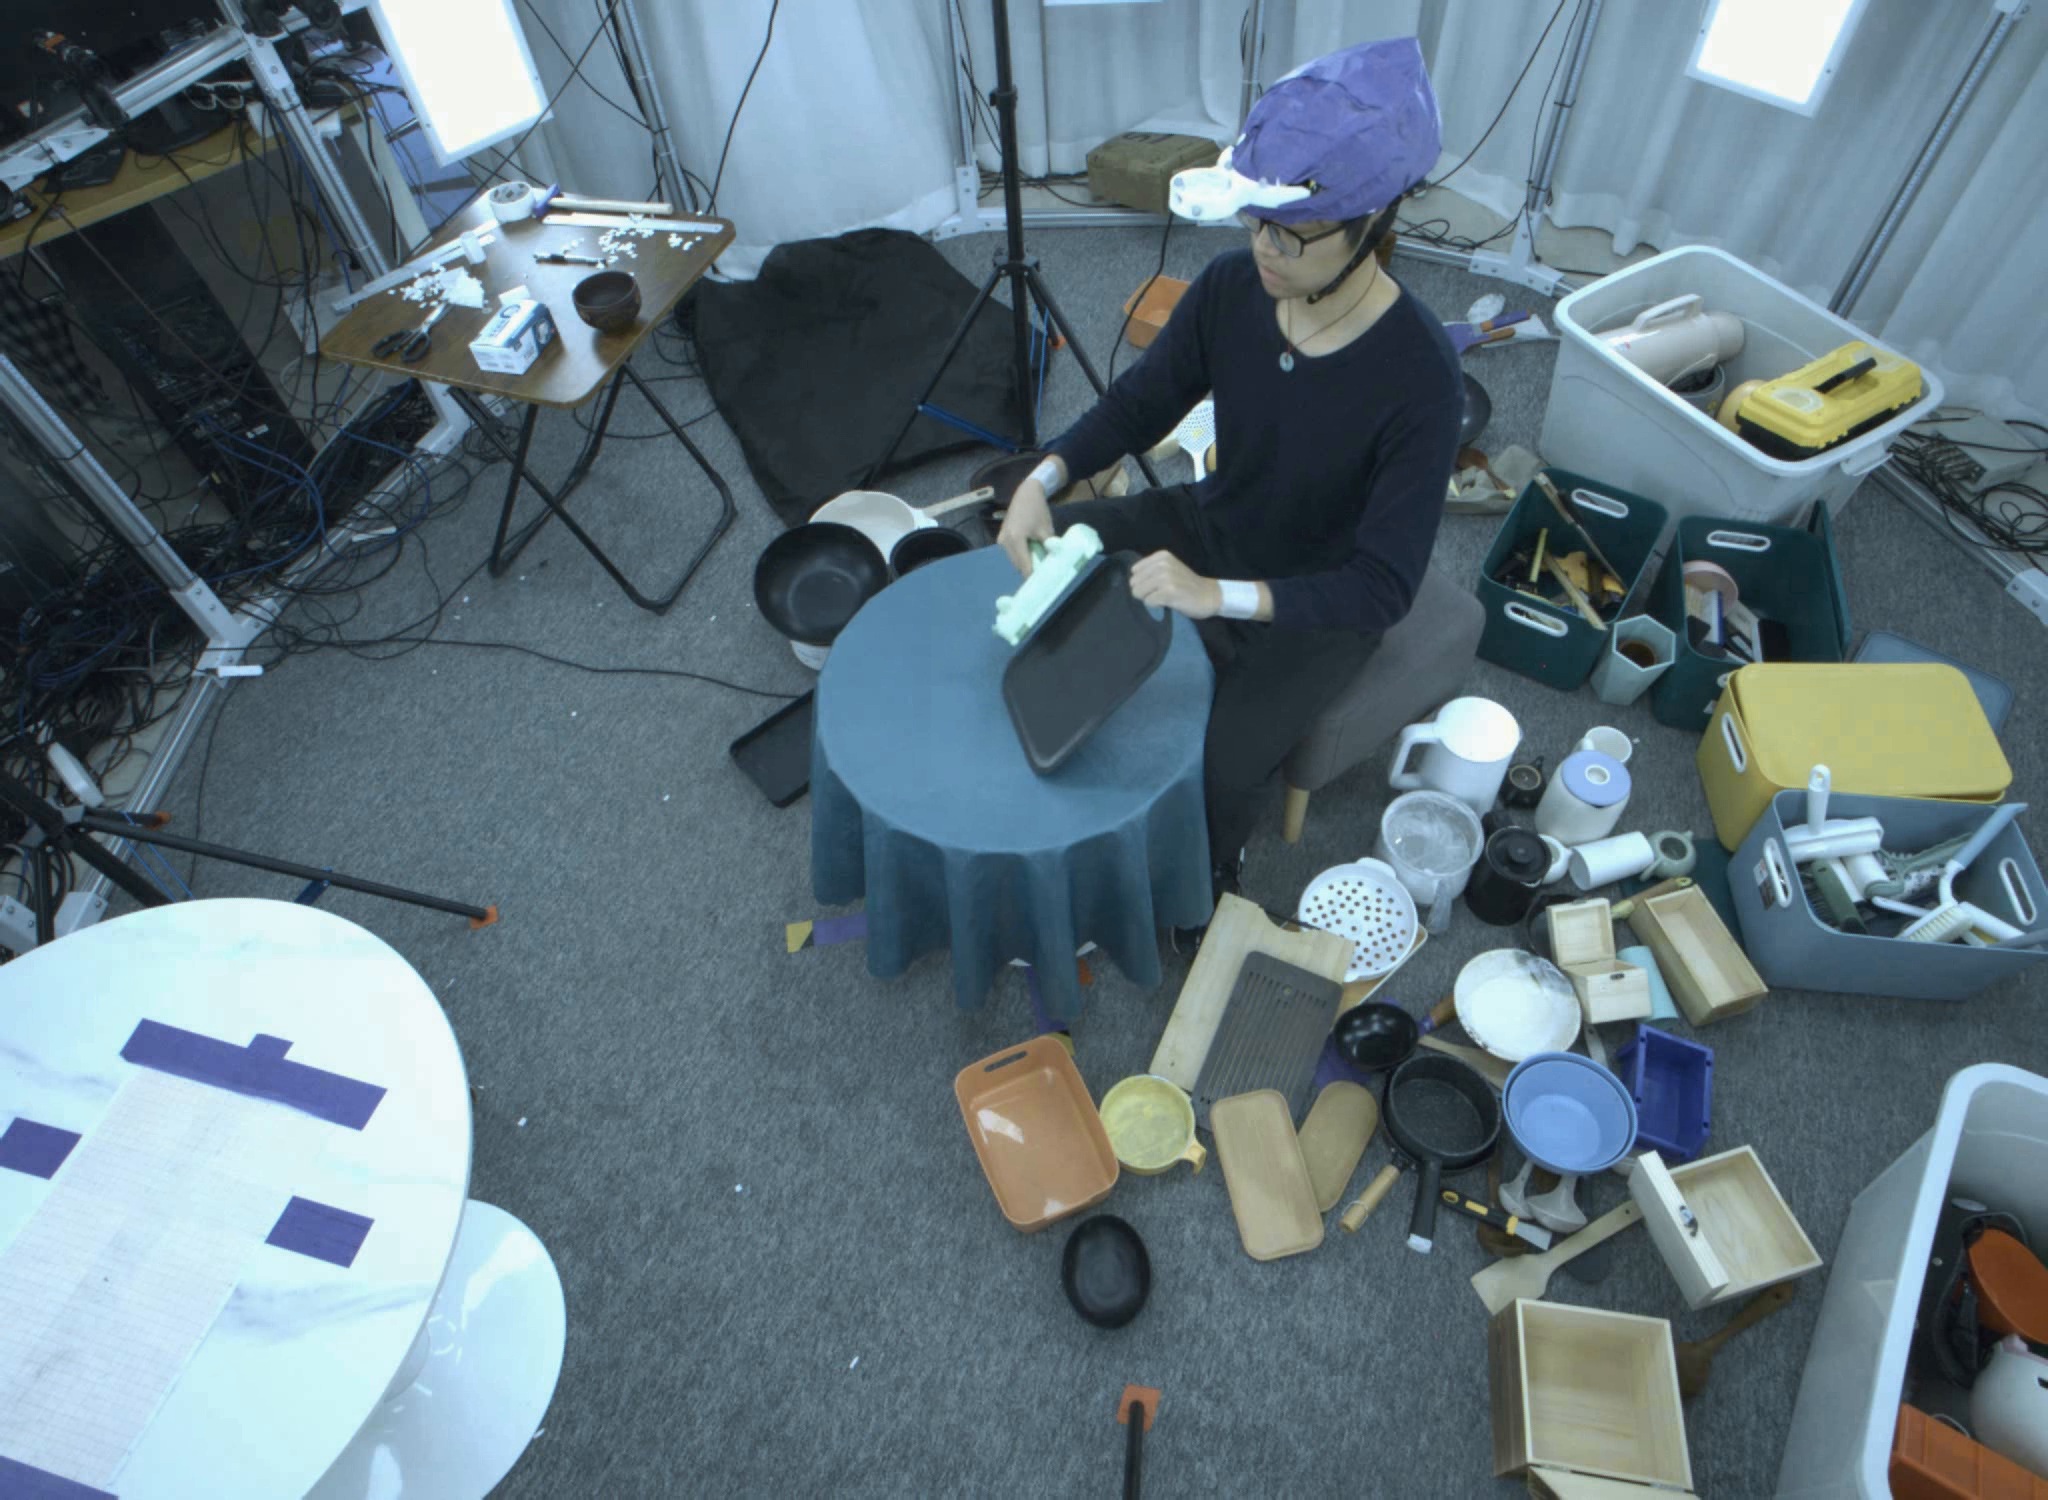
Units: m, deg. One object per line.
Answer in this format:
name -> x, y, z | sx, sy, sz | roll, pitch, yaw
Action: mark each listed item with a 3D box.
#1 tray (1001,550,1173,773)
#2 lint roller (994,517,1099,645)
tray -> 0.083, -0.128, 1.718 | 0.010, 0.323, 0.207 | 12, 45, -42
lint roller -> 0.002, -0.279, 1.762 | 0.084, 0.197, 0.180 | 7, 43, -47
